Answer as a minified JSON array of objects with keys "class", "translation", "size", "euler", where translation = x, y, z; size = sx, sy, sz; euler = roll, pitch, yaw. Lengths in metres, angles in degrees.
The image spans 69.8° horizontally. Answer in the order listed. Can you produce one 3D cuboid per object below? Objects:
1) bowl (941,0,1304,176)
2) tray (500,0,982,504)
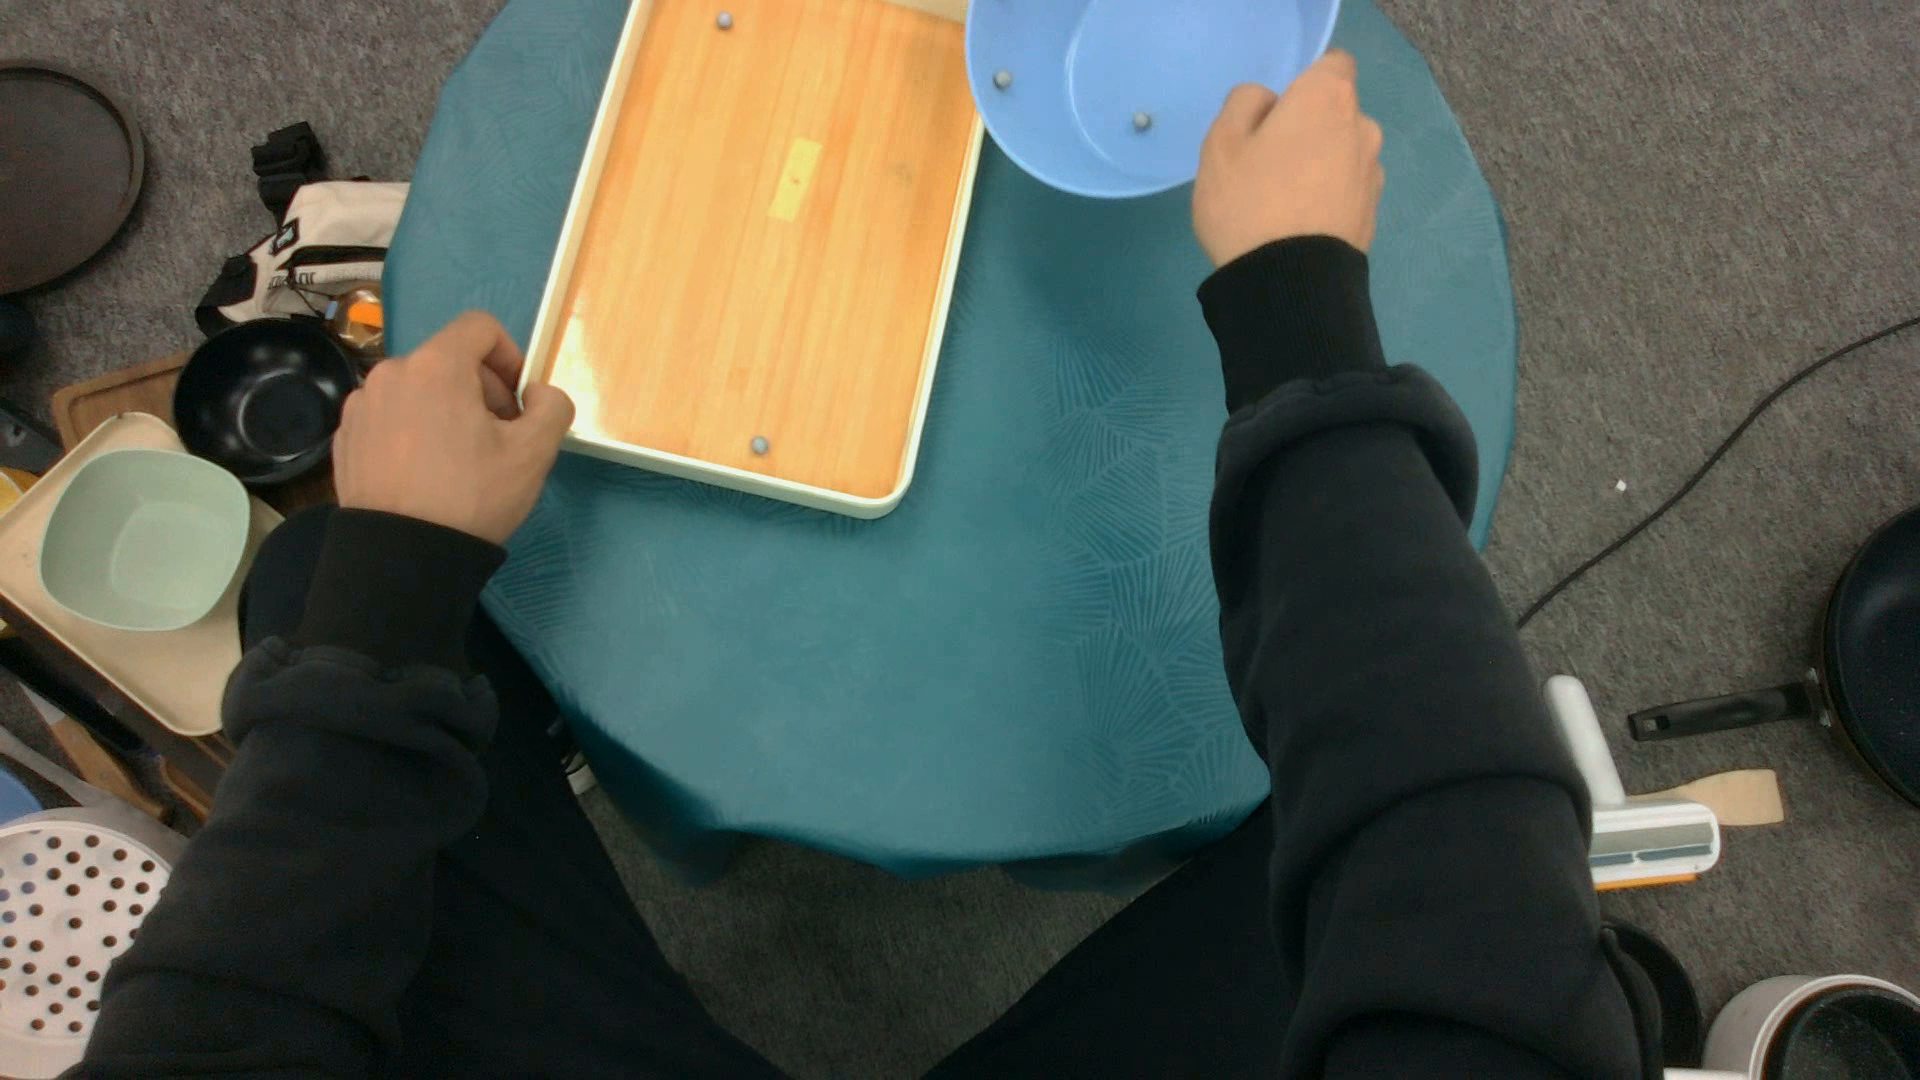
[{"class":"bowl","translation":[0.083,-0.247,0.645],"size":[0.175,0.070,0.176],"euler":[-3,84,26]},{"class":"tray","translation":[-0.103,-0.177,0.707],"size":[0.191,0.027,0.301],"euler":[12,72,-7]}]
